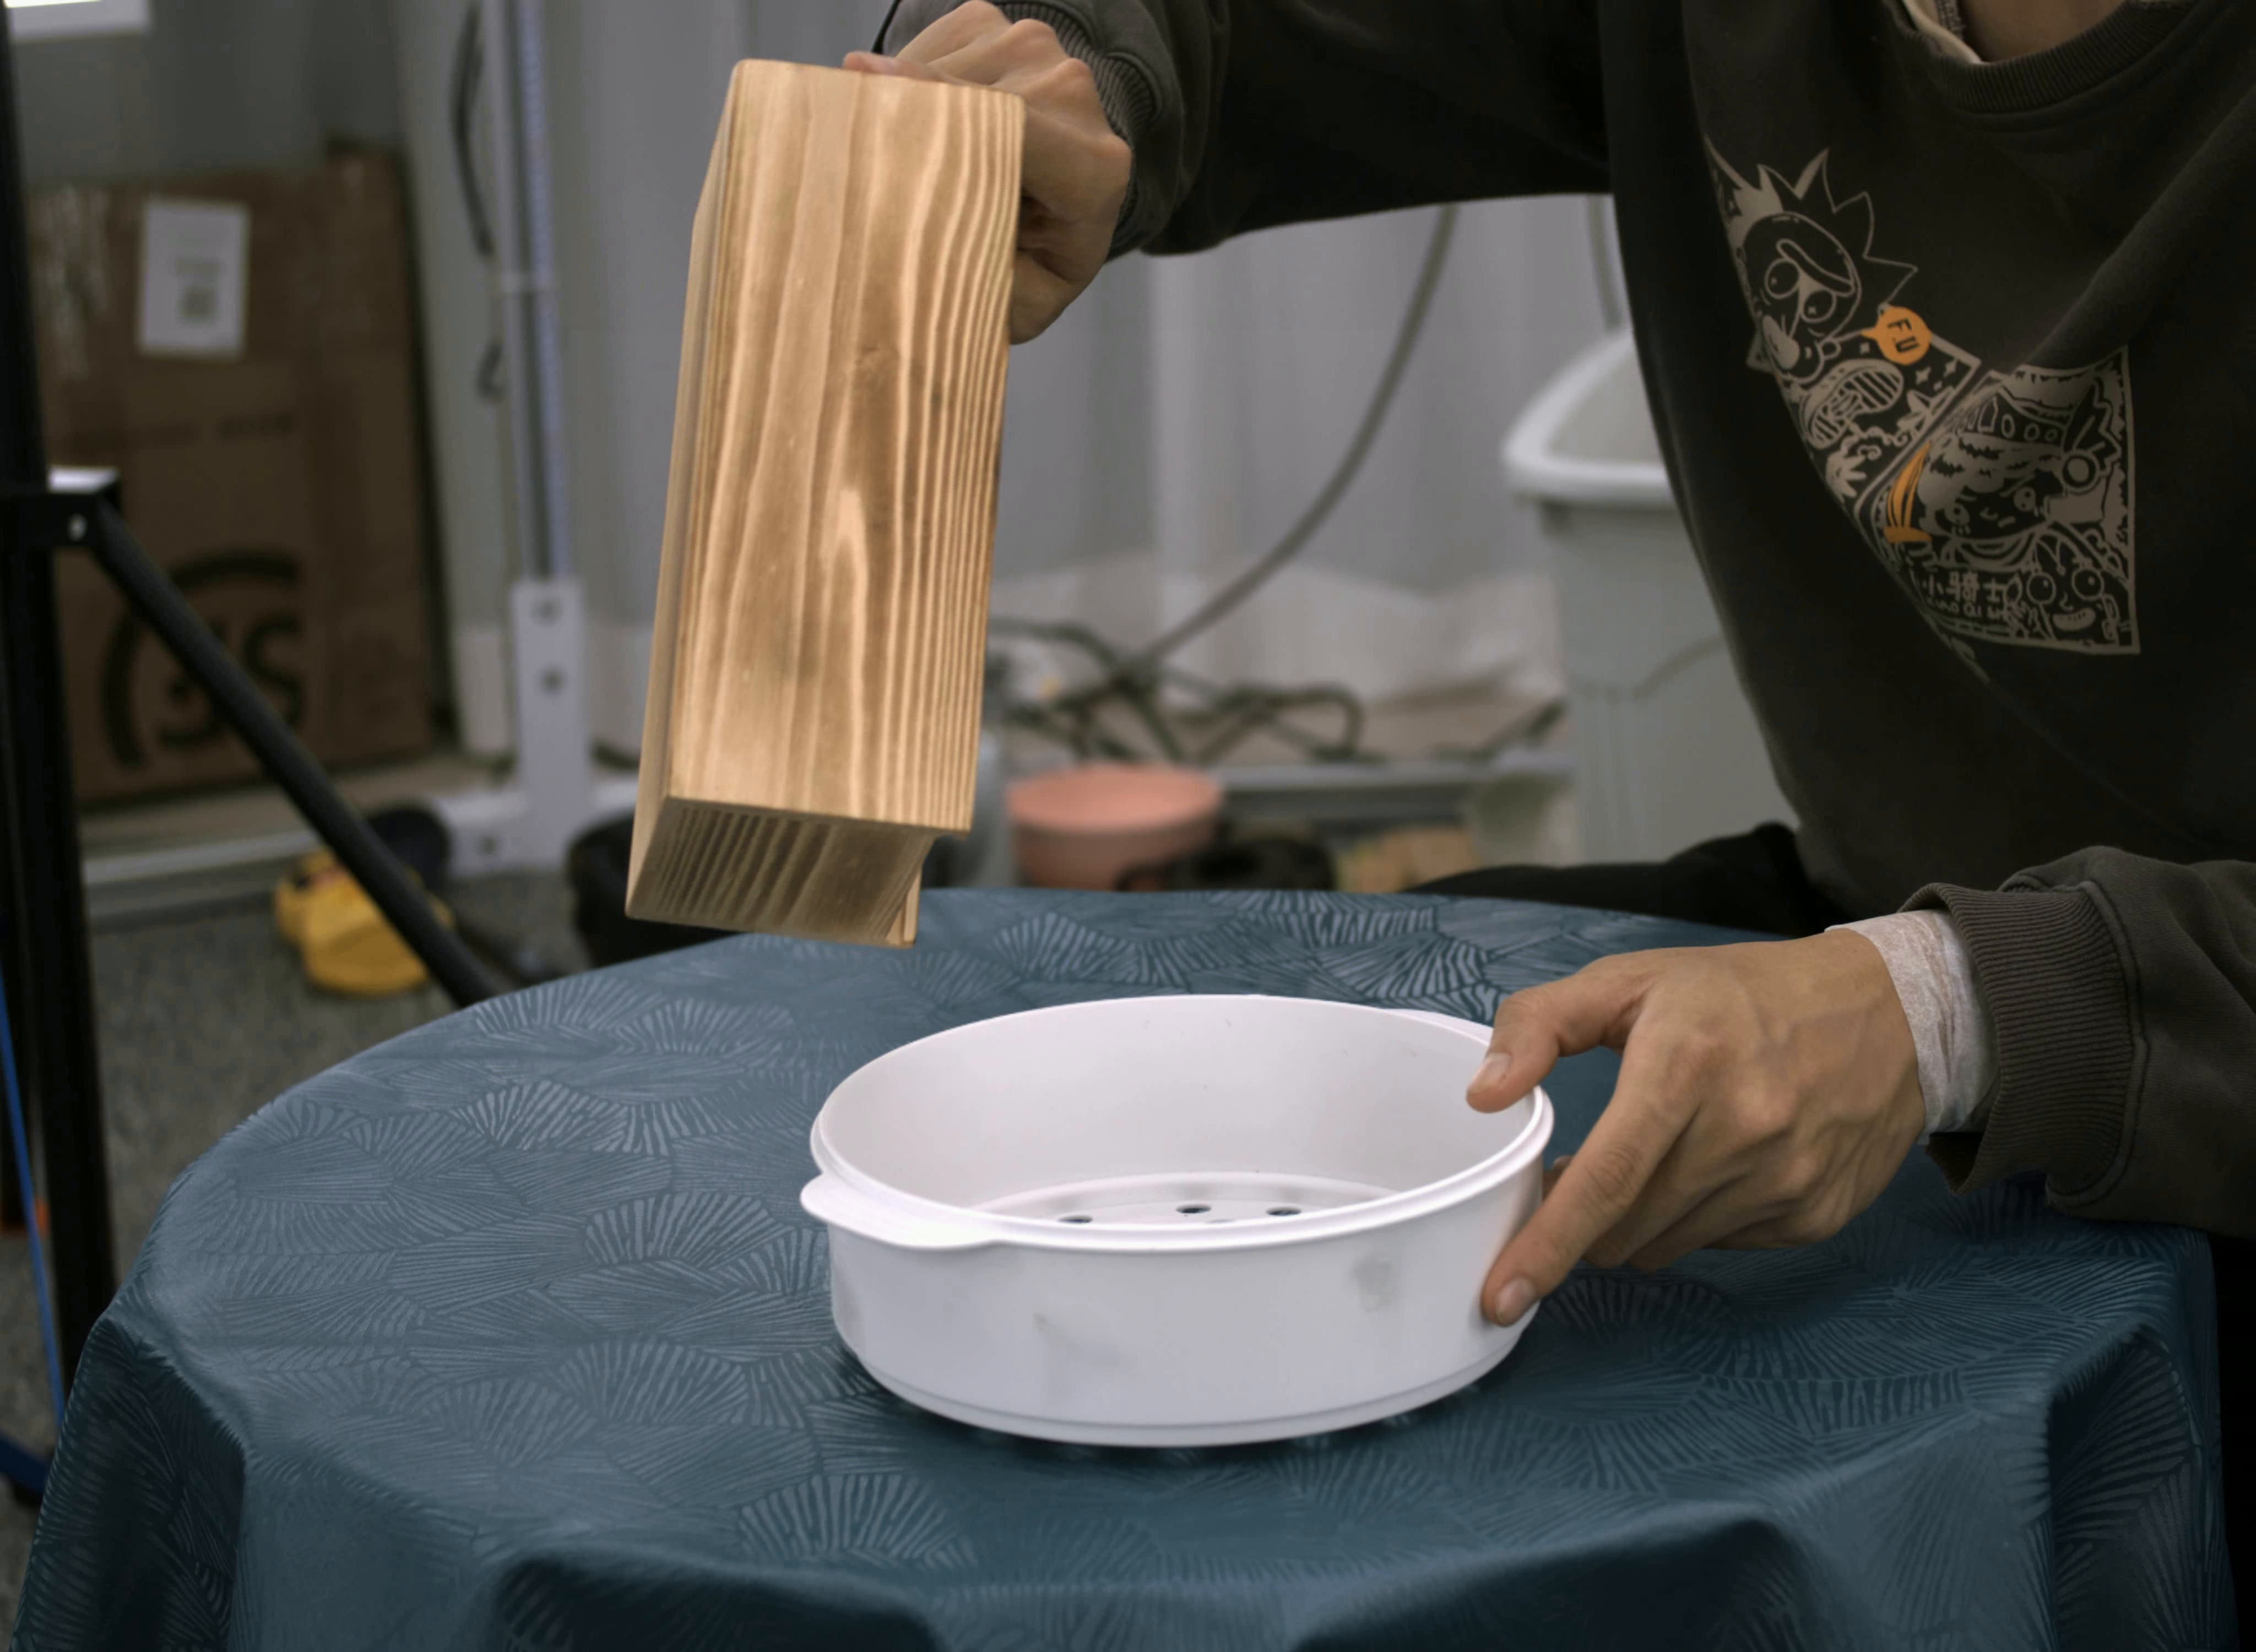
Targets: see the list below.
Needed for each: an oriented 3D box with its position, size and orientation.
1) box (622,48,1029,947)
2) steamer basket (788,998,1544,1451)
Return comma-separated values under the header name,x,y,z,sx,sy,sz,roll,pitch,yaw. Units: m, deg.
name,x,y,z,sx,sy,sz,roll,pitch,yaw
box,-0.082,-0.087,1.441,0.079,0.213,0.108,7,-21,-9
steamer basket,0.012,0.107,1.437,0.225,0.069,0.206,-13,19,-37
